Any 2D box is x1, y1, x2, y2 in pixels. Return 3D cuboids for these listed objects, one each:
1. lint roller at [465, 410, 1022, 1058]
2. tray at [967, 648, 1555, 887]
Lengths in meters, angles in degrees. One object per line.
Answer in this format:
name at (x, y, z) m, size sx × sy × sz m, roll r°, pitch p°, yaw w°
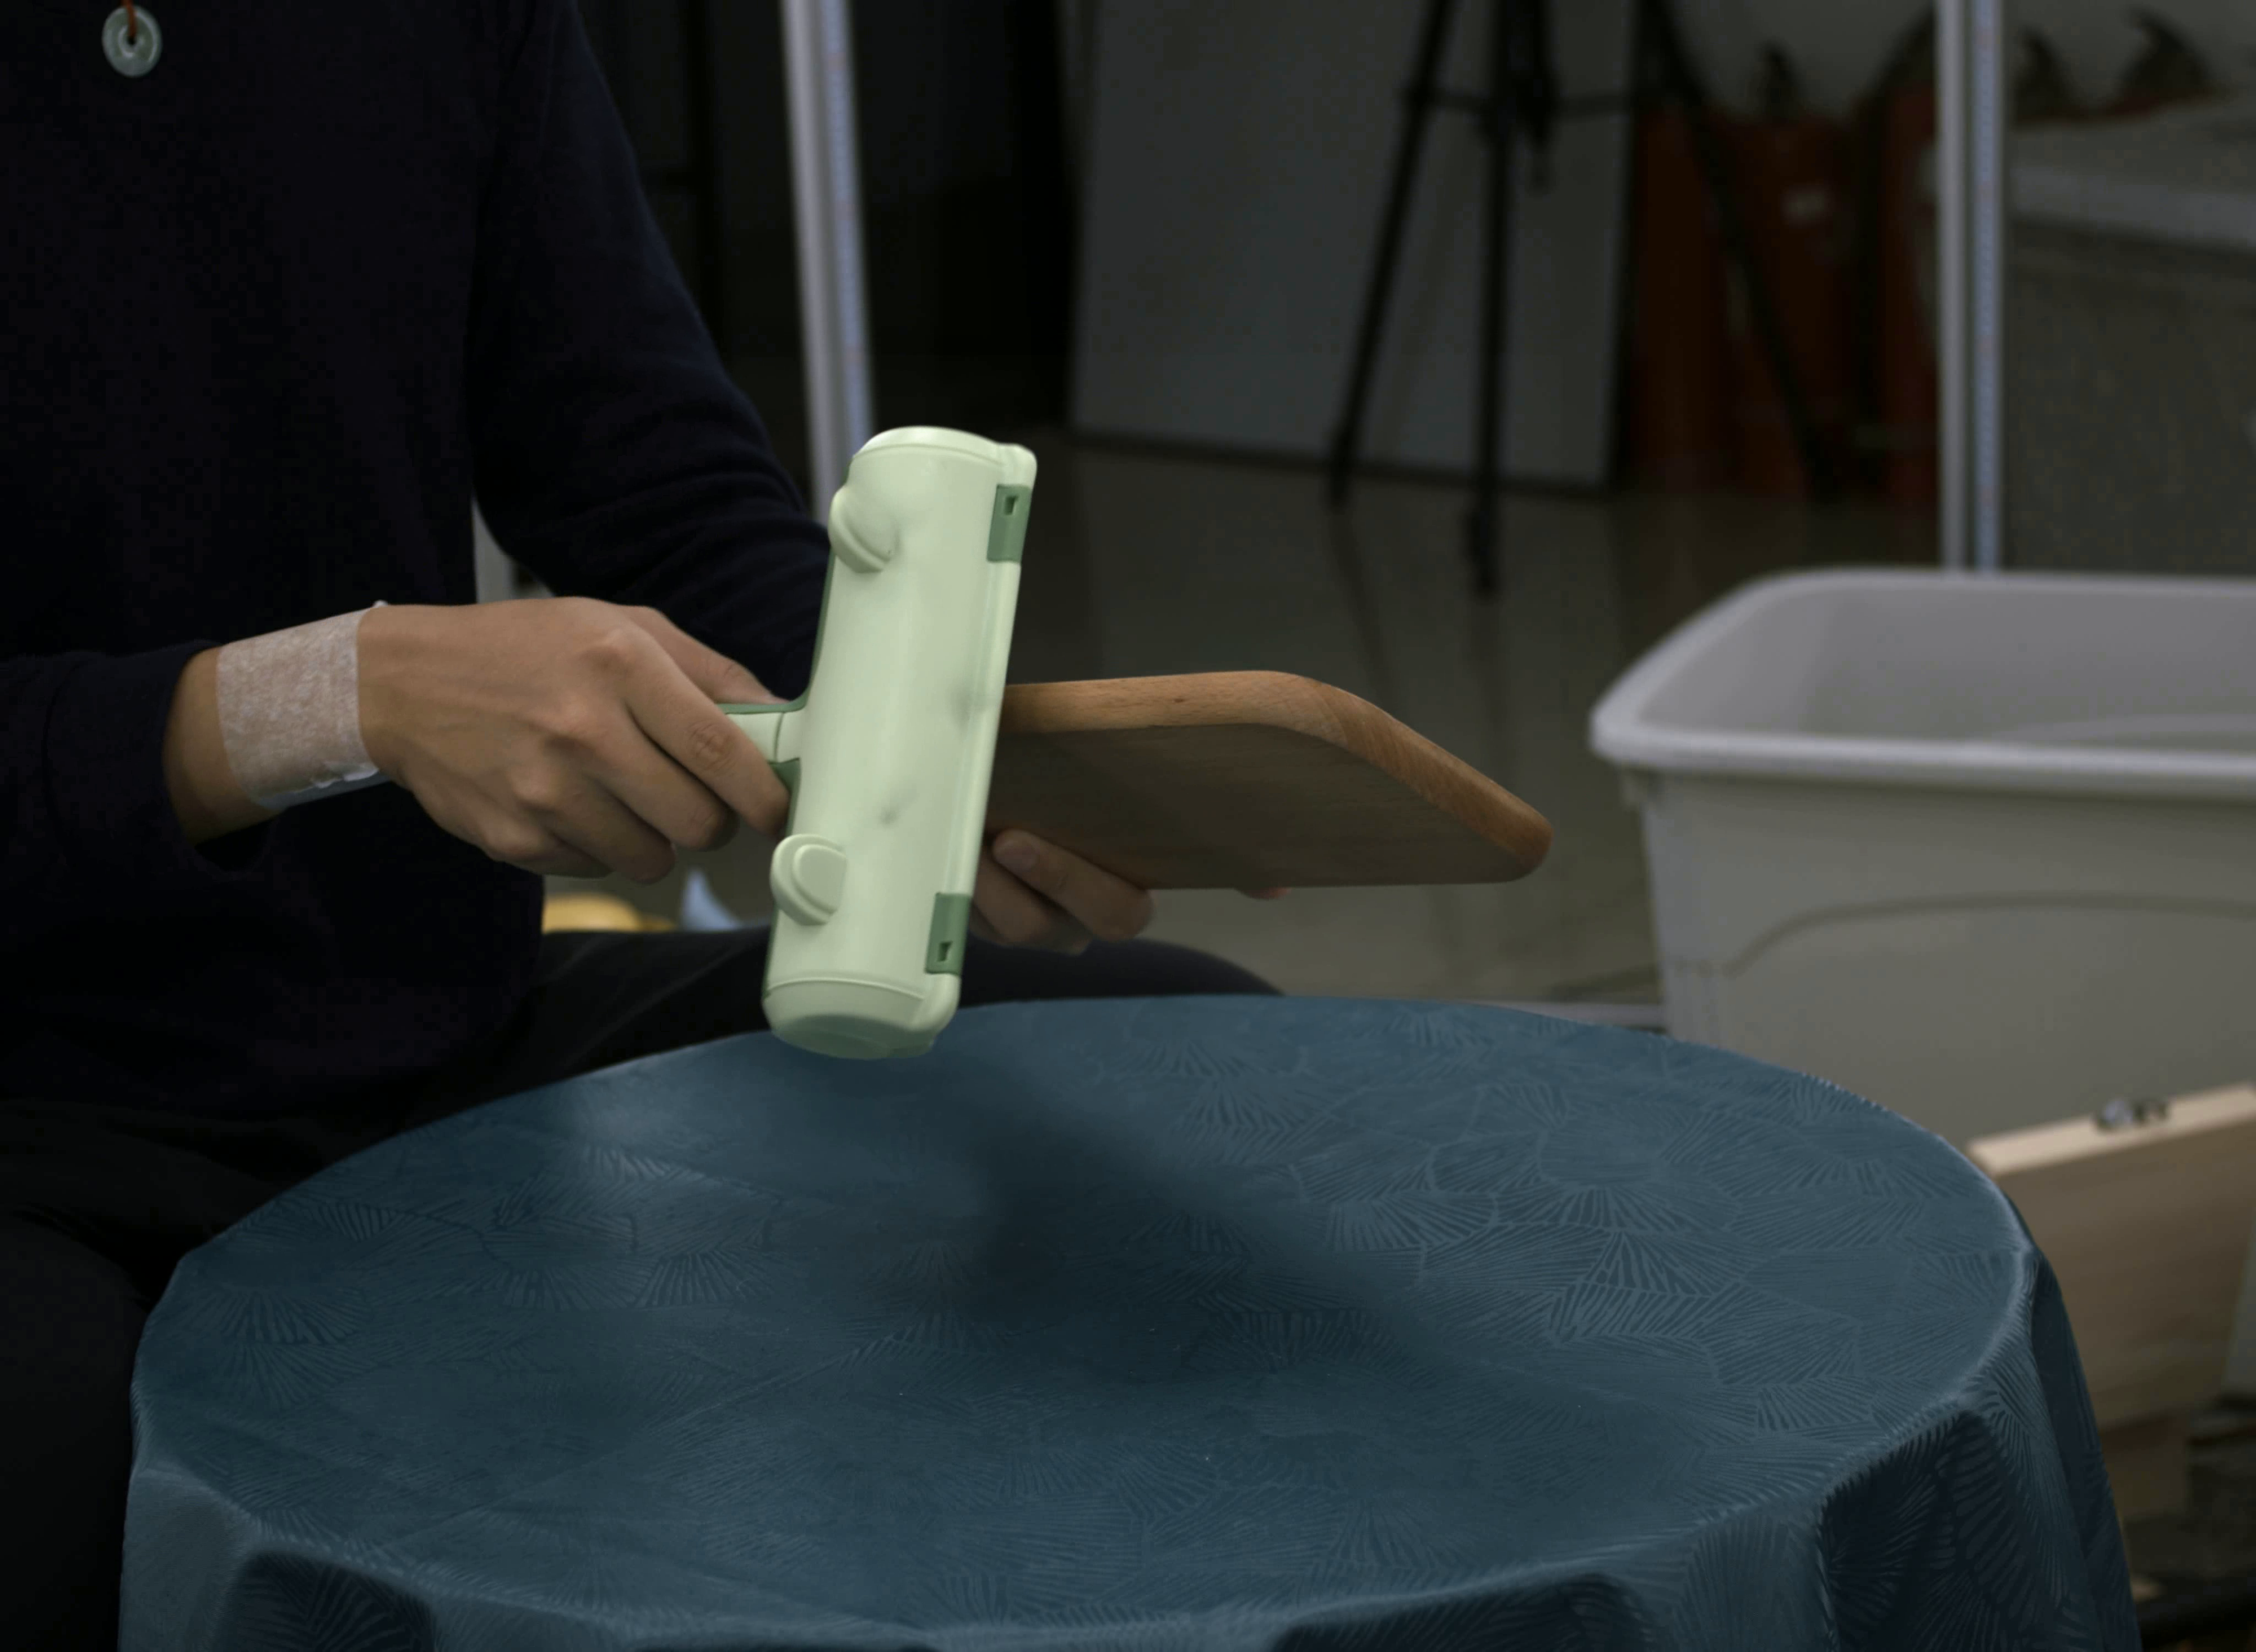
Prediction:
lint roller at (-0.129, -0.032, 1.649) m, size 0.183 × 0.200 × 0.081 m, roll 0°, pitch -24°, yaw 17°
tray at (0.013, -0.015, 1.666) m, size 0.128 × 0.023 × 0.253 m, roll 35°, pitch -24°, yaw -33°
